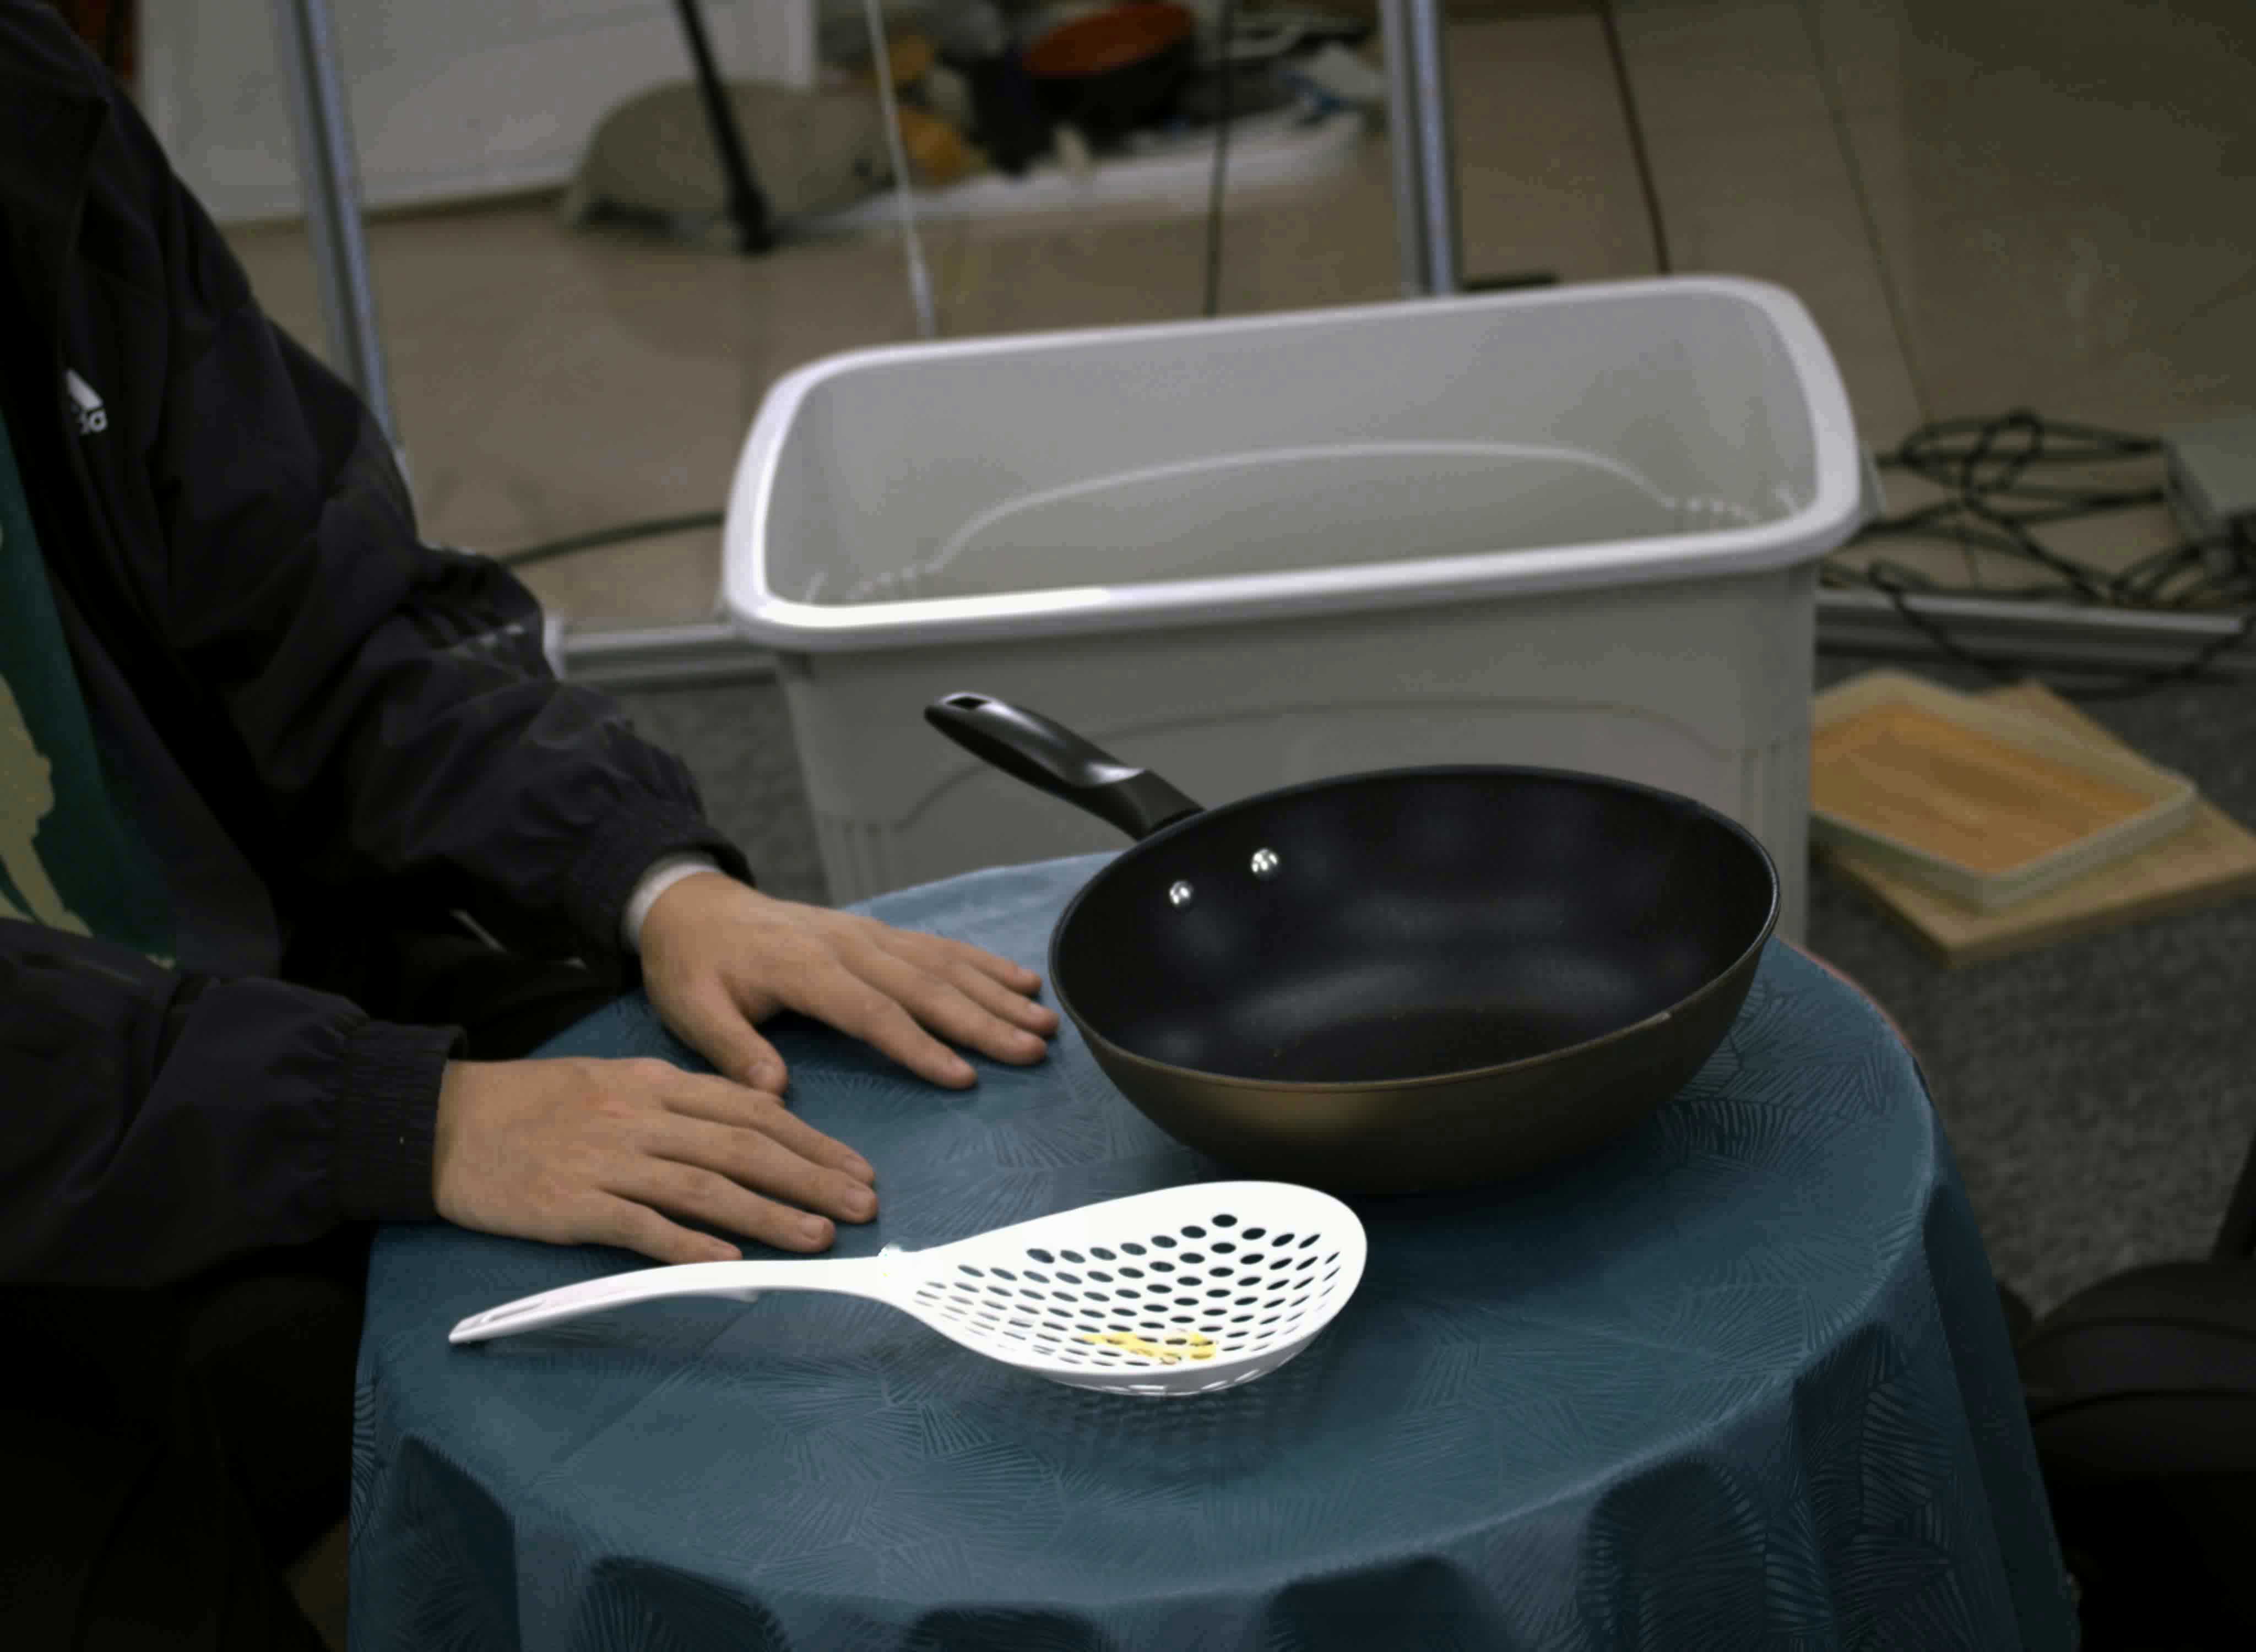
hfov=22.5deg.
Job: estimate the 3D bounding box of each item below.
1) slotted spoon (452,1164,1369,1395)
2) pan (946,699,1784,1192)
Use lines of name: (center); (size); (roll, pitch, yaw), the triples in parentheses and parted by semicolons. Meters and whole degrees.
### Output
slotted spoon: (-0.082, 0.172, 2.046); (0.347, 0.051, 0.135); (1, 28, 16)
pan: (0.059, 0.044, 2.238); (0.286, 0.088, 0.459); (-21, 27, -30)
